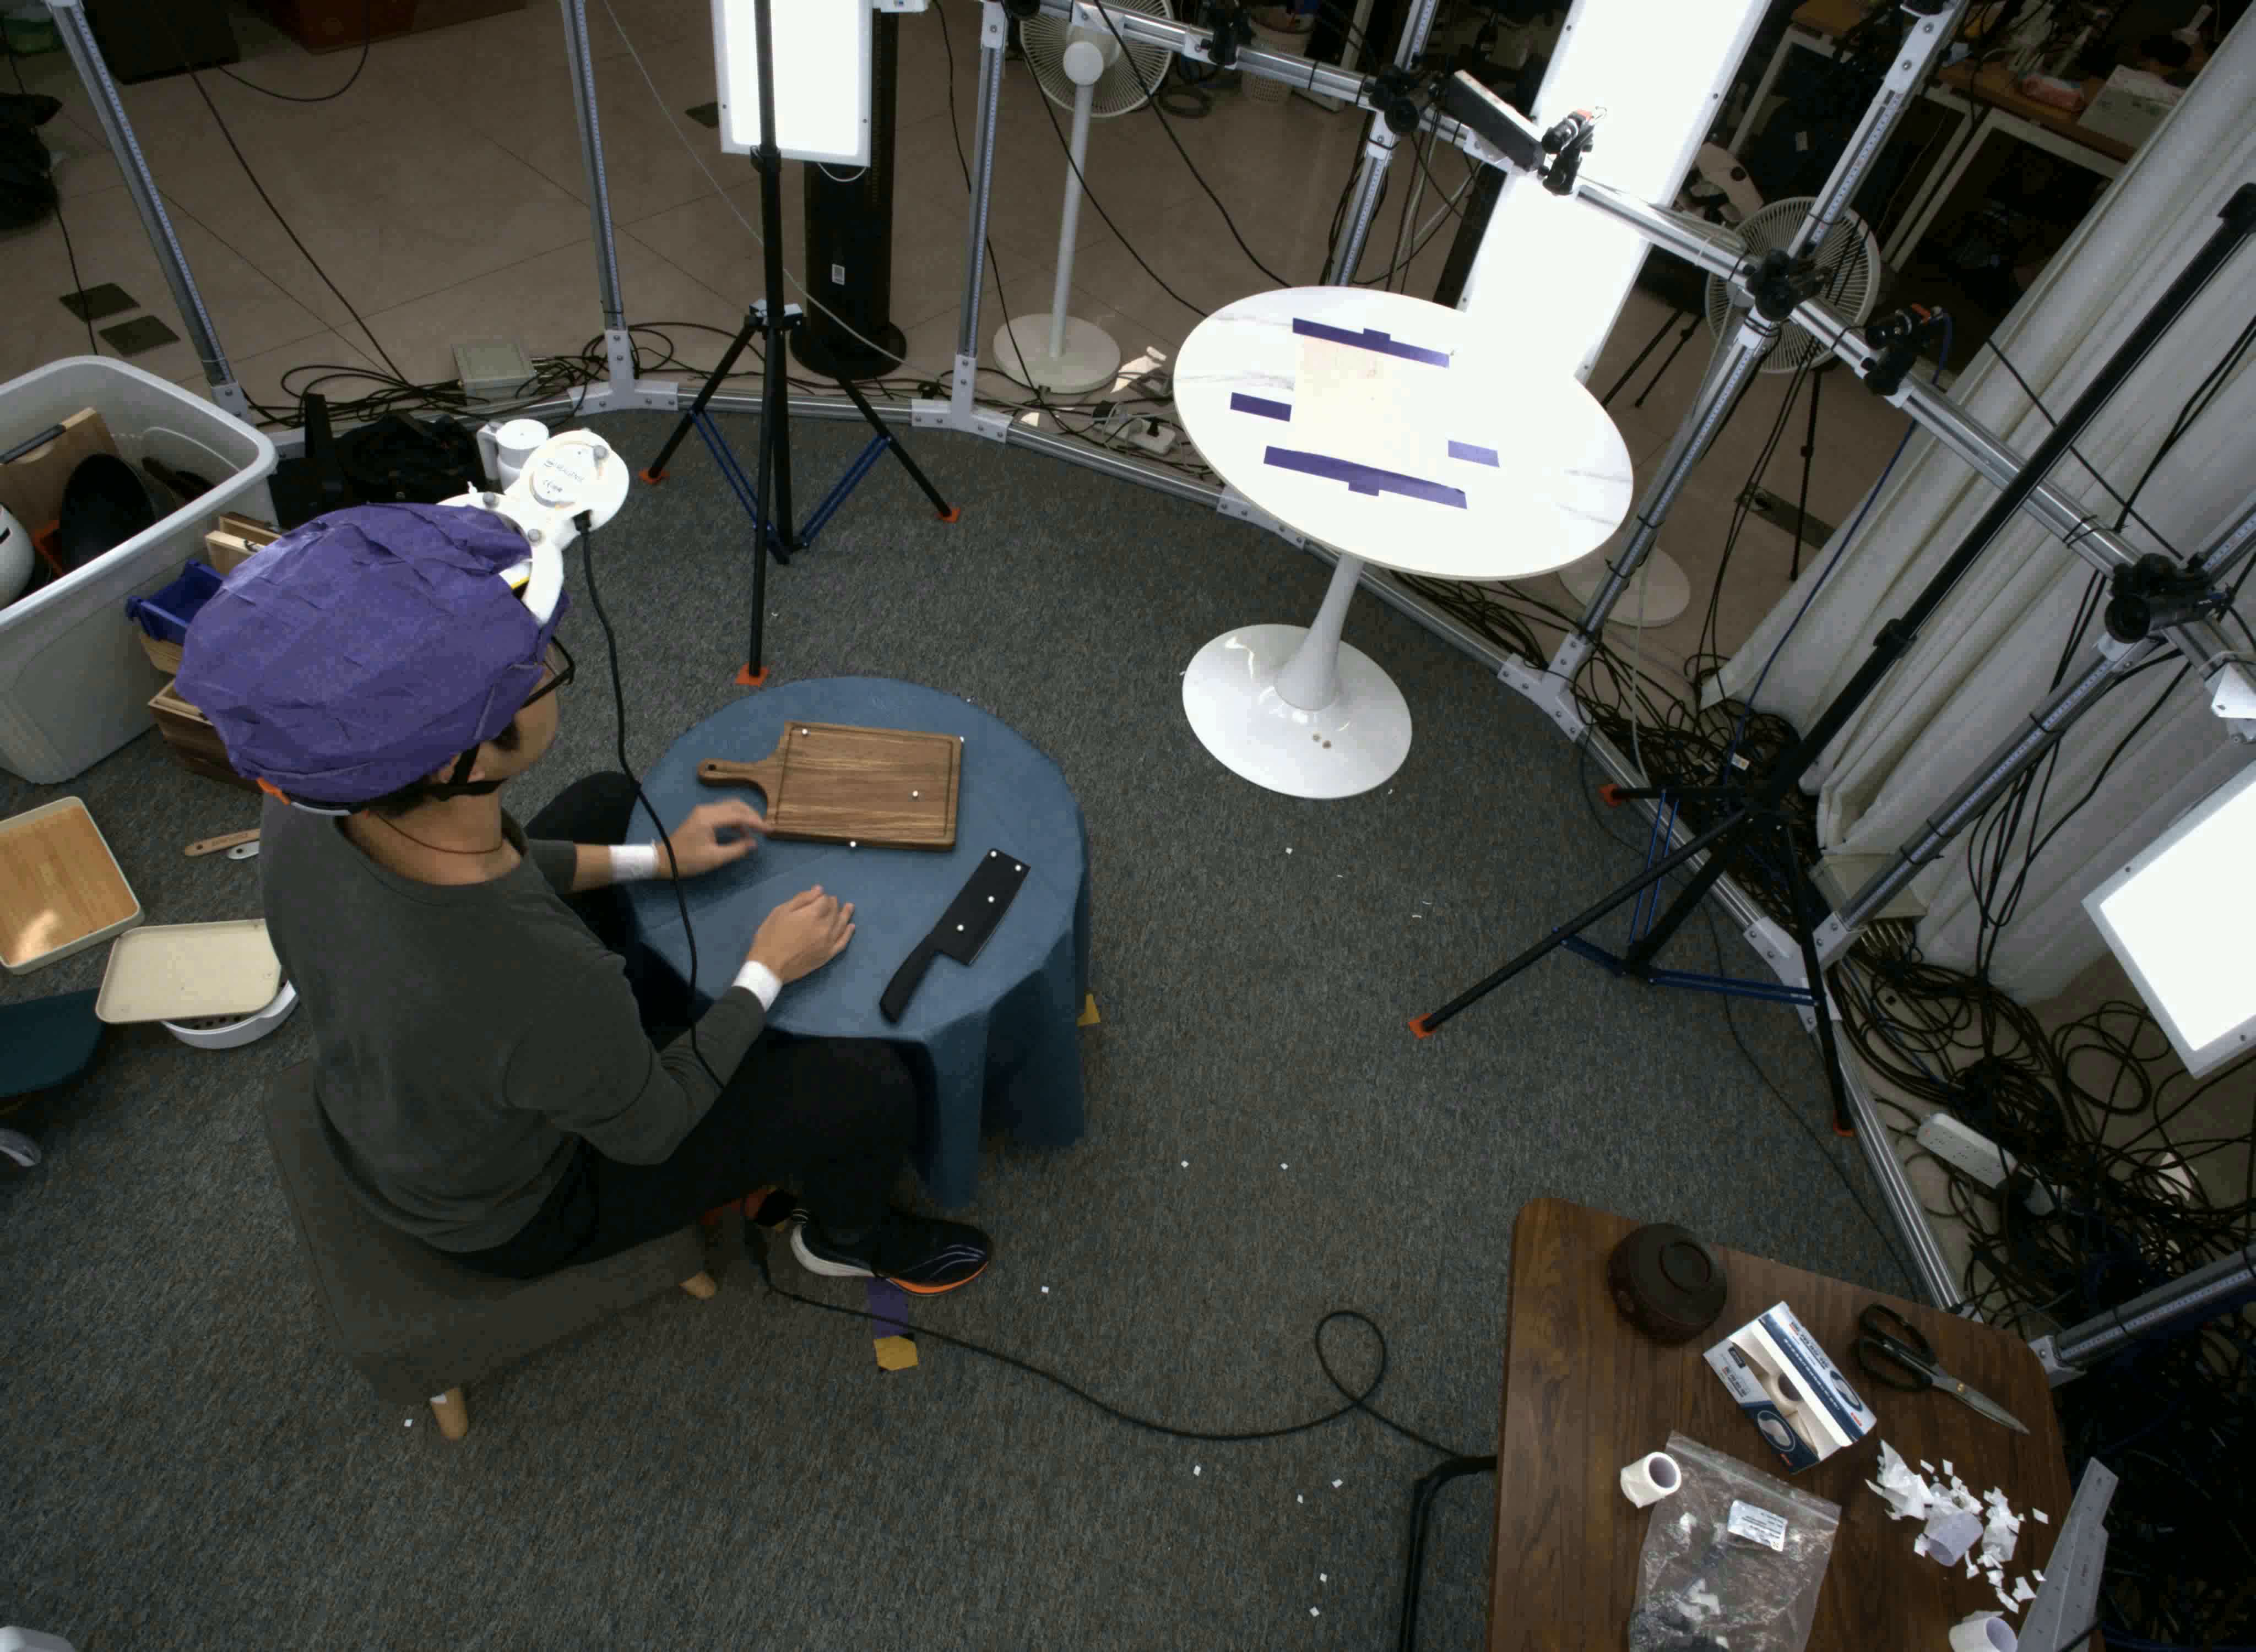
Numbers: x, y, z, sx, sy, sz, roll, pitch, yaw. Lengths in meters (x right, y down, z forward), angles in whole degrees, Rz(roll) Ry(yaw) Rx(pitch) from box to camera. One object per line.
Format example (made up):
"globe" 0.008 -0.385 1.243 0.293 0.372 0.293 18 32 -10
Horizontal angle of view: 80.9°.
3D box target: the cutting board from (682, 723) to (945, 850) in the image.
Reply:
"cutting board" -0.426 -0.059 1.764 0.352 0.023 0.197 4 53 -12

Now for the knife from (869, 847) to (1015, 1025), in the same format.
"knife" -0.238 0.137 1.673 0.080 0.021 0.301 30 51 7
